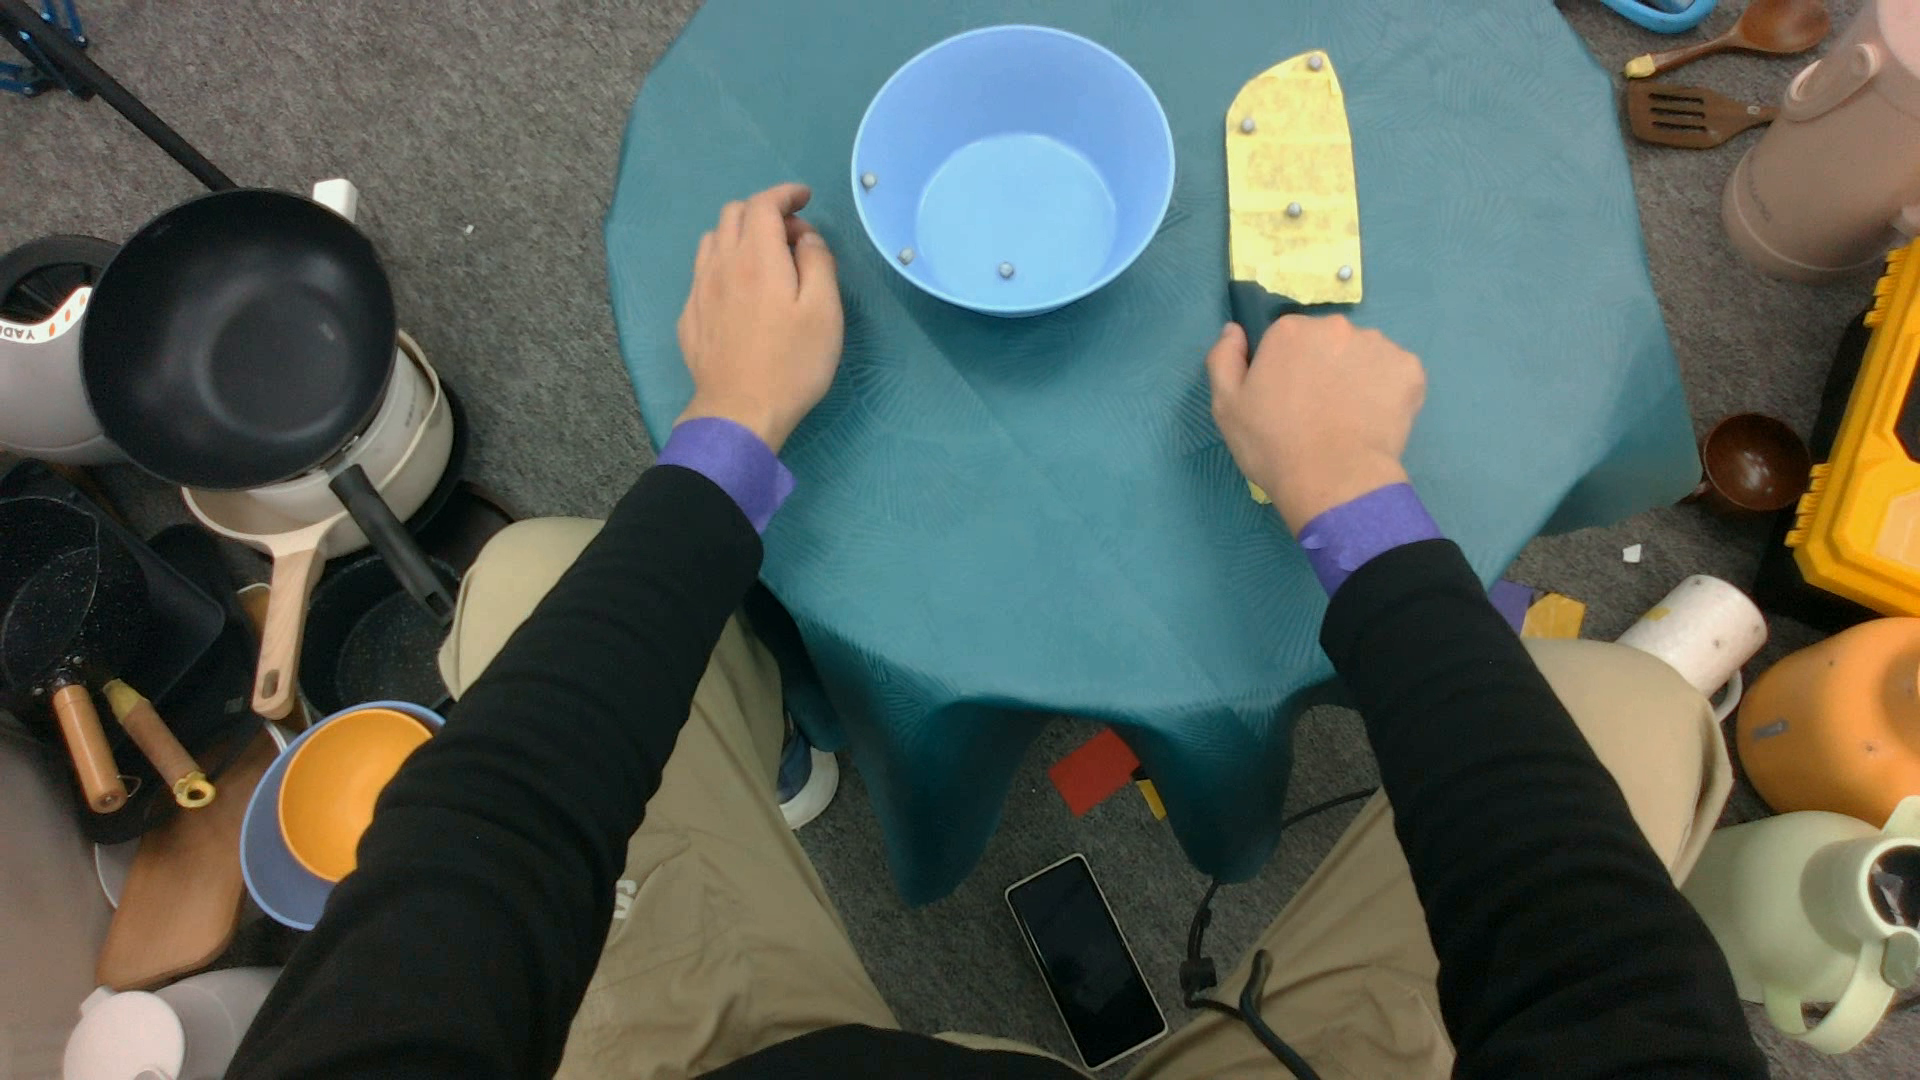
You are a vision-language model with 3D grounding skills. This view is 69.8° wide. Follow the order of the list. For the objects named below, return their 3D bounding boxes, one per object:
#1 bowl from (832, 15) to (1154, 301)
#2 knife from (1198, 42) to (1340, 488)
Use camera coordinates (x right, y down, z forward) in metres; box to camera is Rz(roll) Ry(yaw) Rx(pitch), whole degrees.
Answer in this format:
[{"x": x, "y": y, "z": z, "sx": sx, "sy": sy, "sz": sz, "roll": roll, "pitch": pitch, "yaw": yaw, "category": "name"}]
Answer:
[{"x": 0.019, "y": -0.203, "z": 0.779, "sx": 0.176, "sy": 0.070, "sz": 0.176, "roll": -1, "pitch": 72, "yaw": 2, "category": "bowl"}, {"x": 0.176, "y": -0.165, "z": 0.787, "sx": 0.081, "sy": 0.027, "sz": 0.290, "roll": 3, "pitch": 71, "yaw": 5, "category": "knife"}]
